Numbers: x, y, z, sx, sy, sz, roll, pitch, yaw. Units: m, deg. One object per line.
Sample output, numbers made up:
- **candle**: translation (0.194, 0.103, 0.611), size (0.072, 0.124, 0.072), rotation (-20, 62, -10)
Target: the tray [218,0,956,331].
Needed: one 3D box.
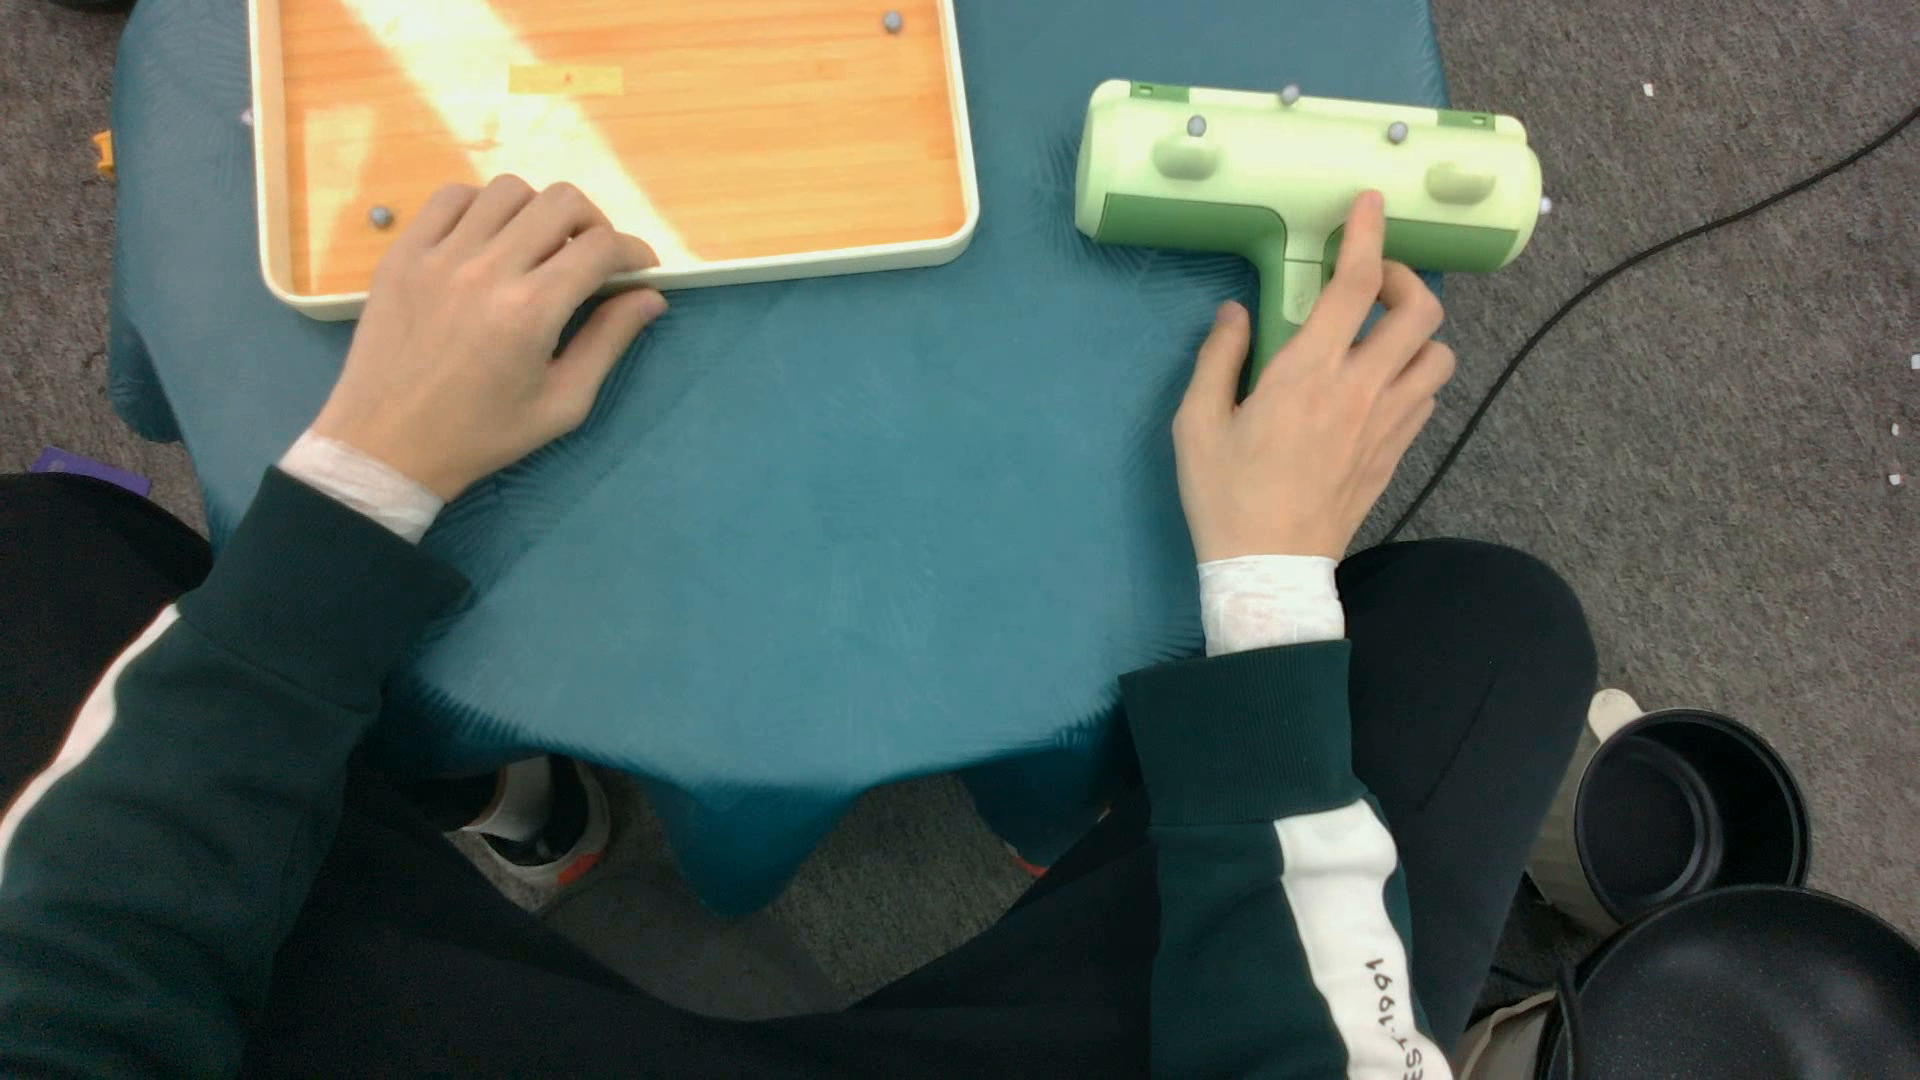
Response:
- **tray**: translation (-0.162, -0.202, 0.606), size (0.300, 0.027, 0.192), rotation (-8, 82, -6)

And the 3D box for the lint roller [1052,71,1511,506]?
- **lint roller**: translation (0.139, -0.111, 0.589), size (0.198, 0.082, 0.184), rotation (3, 76, -4)
